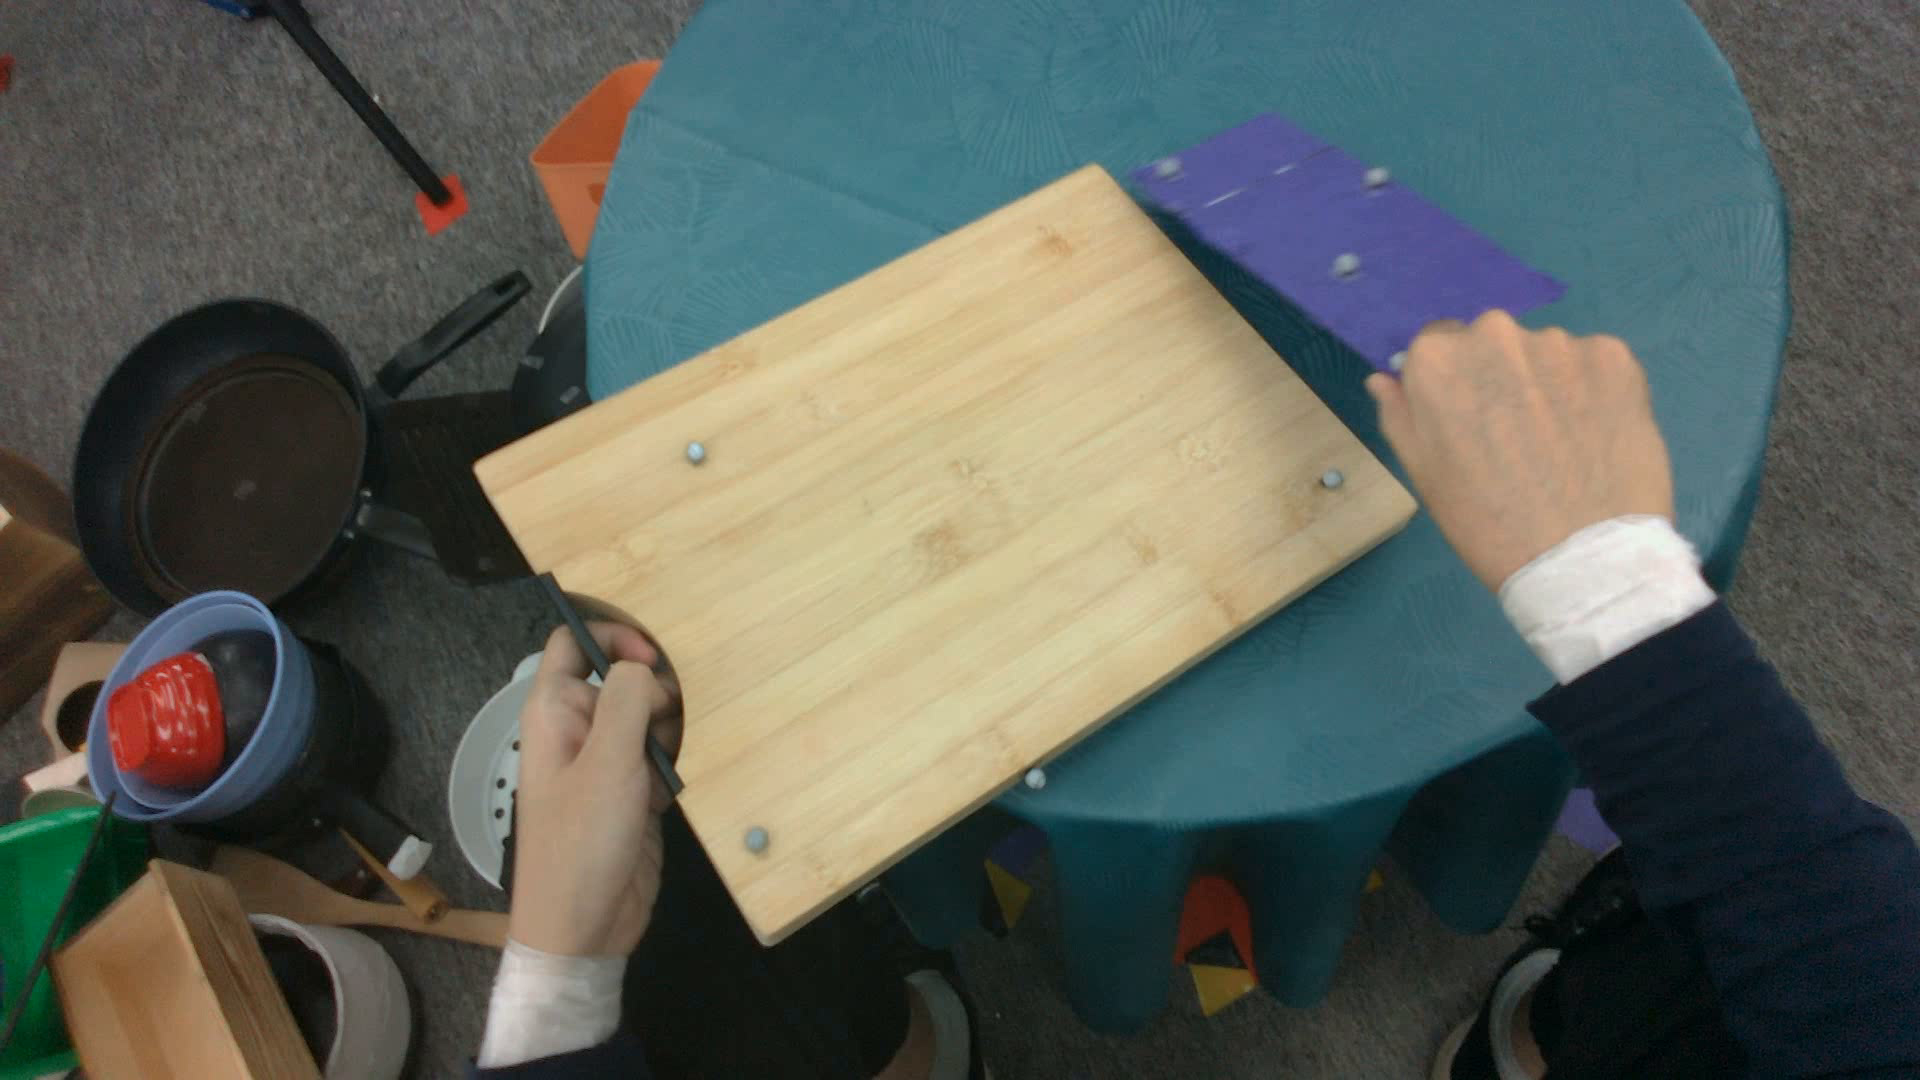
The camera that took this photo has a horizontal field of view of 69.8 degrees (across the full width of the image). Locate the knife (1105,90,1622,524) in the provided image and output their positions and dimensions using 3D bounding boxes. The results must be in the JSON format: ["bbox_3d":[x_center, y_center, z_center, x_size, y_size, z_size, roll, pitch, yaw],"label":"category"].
[{"bbox_3d":[0.183,-0.124,0.595,0.104,0.032,0.316,-25,48,-10],"label":"knife"}]

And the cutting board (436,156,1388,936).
[{"bbox_3d":[-0.014,-0.023,0.609,0.350,0.023,0.251,-31,68,-21],"label":"cutting board"}]
